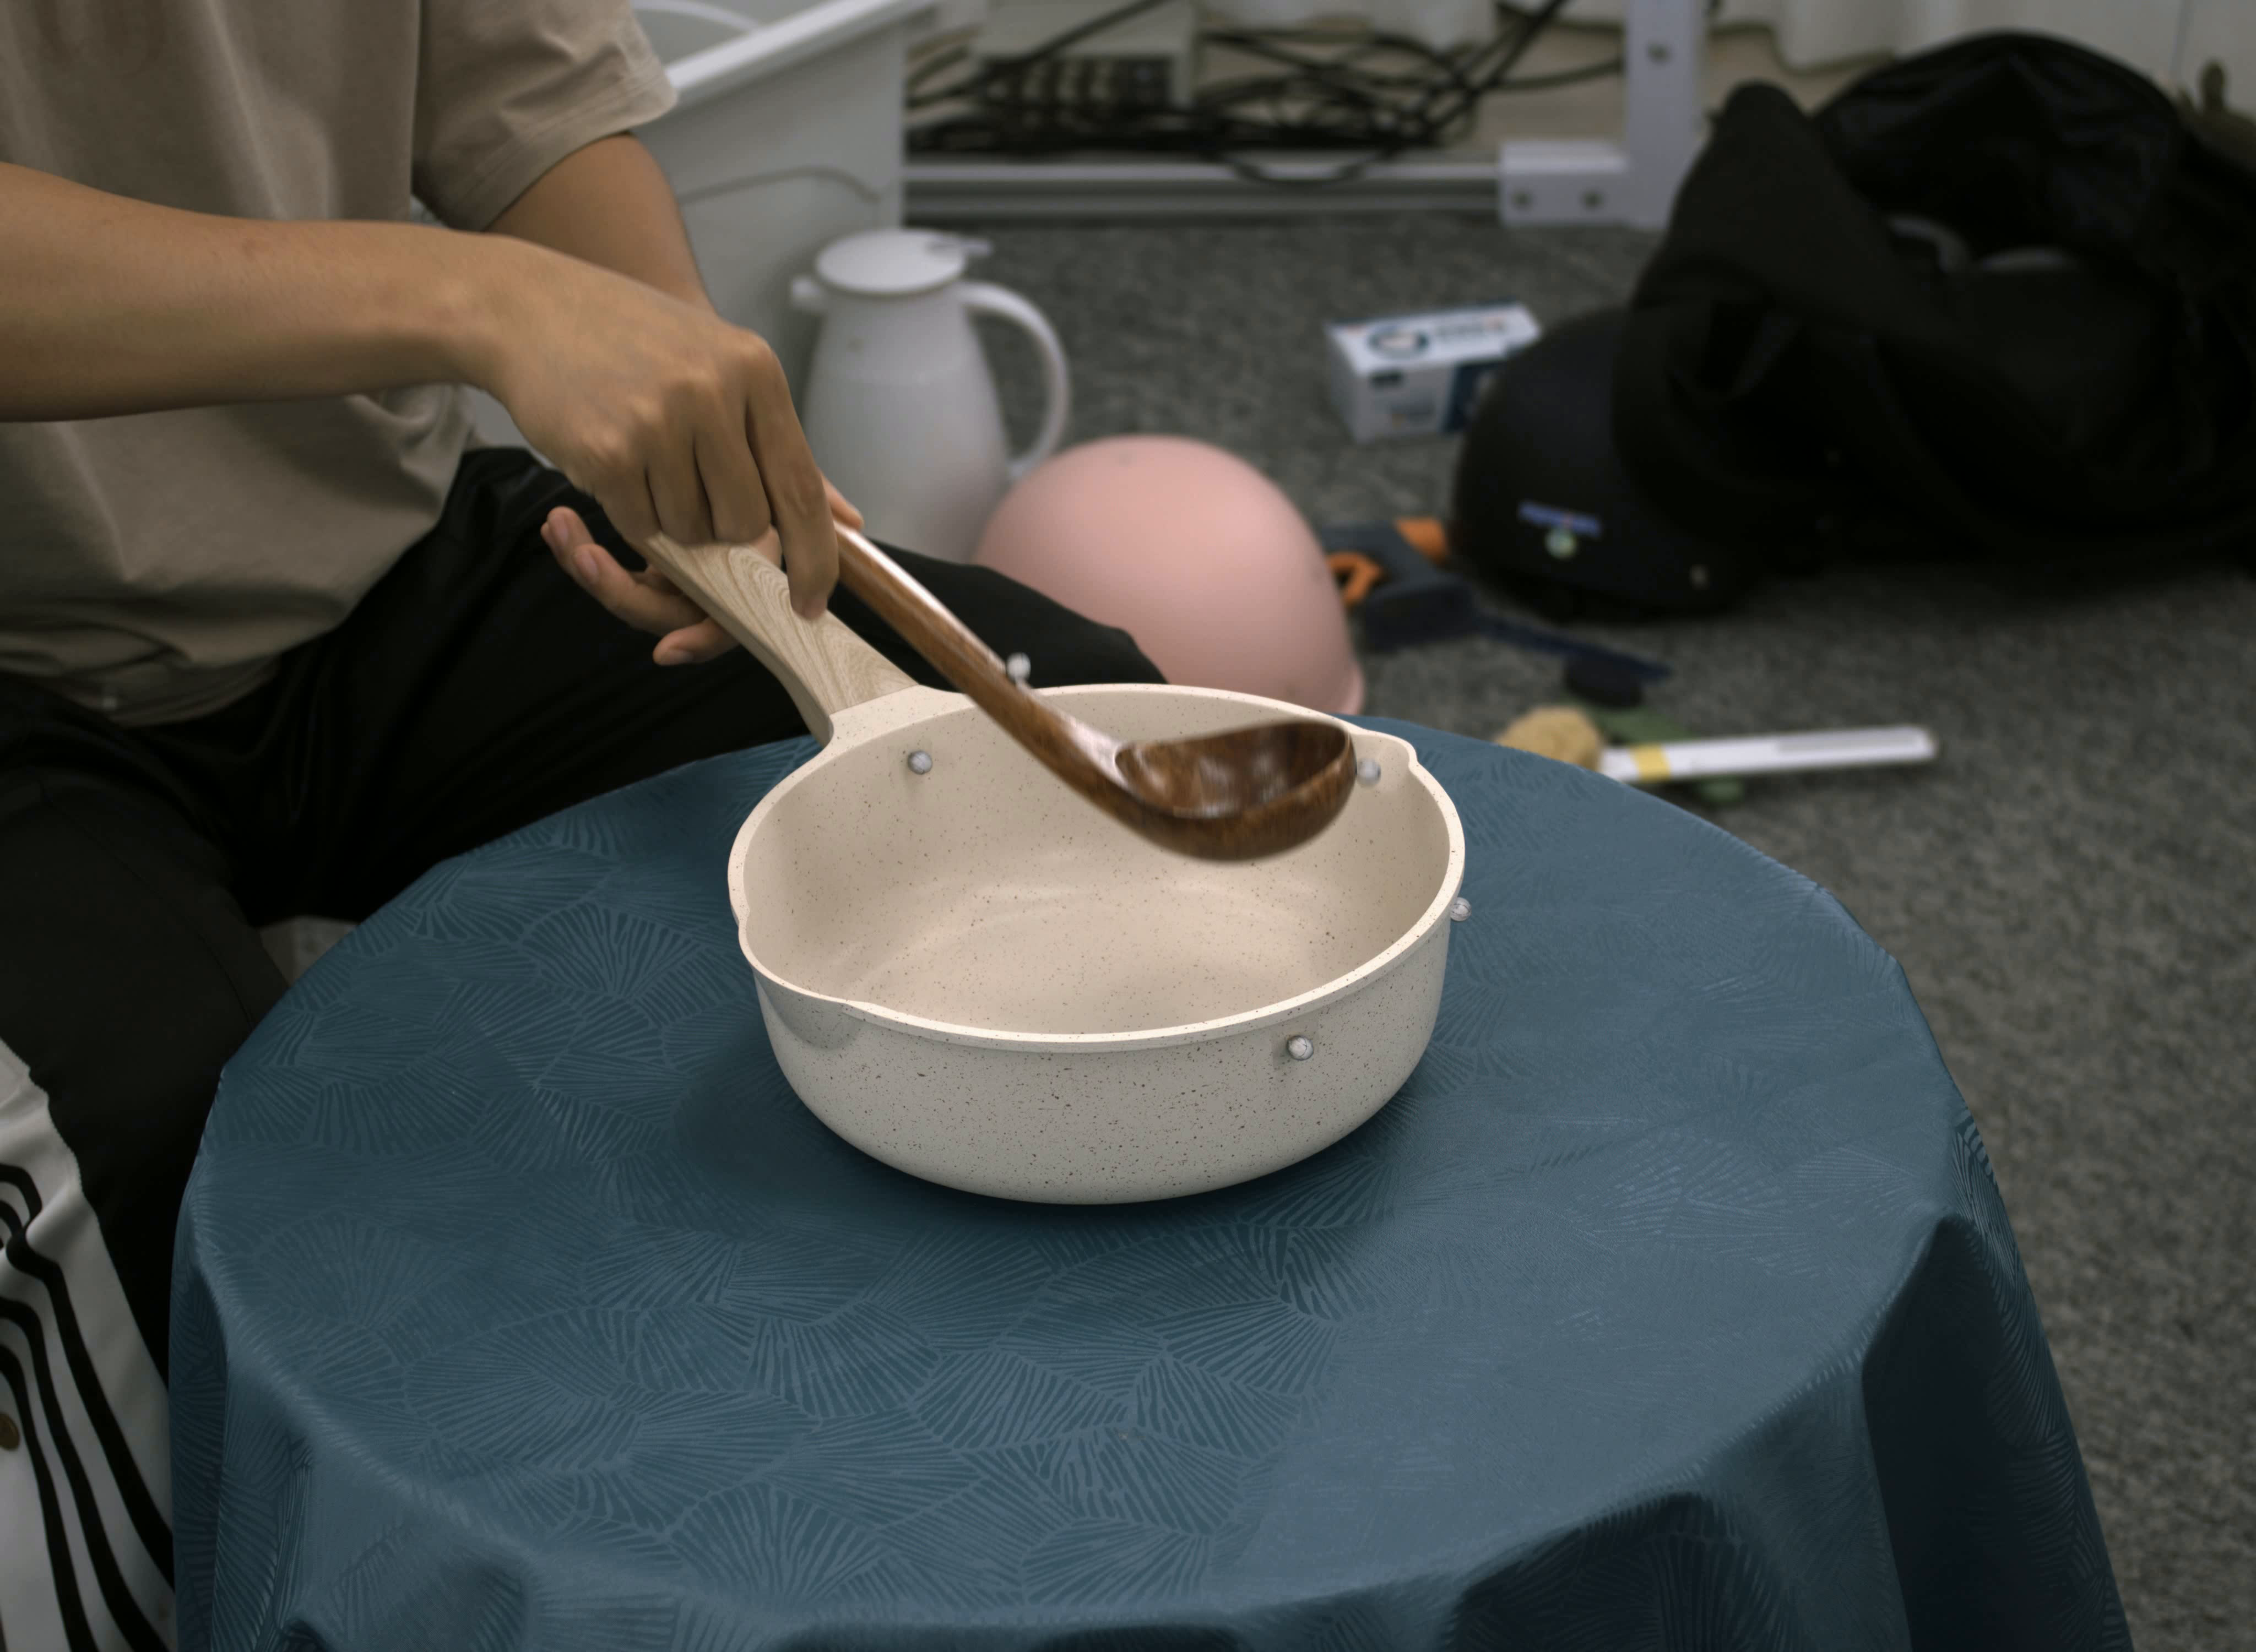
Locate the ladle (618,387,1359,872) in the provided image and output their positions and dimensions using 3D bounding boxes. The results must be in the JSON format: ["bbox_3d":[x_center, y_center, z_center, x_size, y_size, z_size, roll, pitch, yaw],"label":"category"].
[{"bbox_3d":[-0.042,-0.077,1.876,0.273,0.076,0.083,40,13,-9],"label":"ladle"}]

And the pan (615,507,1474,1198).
[{"bbox_3d":[-0.057,0.002,1.991,0.265,0.101,0.436,-21,32,-28],"label":"pan"}]
